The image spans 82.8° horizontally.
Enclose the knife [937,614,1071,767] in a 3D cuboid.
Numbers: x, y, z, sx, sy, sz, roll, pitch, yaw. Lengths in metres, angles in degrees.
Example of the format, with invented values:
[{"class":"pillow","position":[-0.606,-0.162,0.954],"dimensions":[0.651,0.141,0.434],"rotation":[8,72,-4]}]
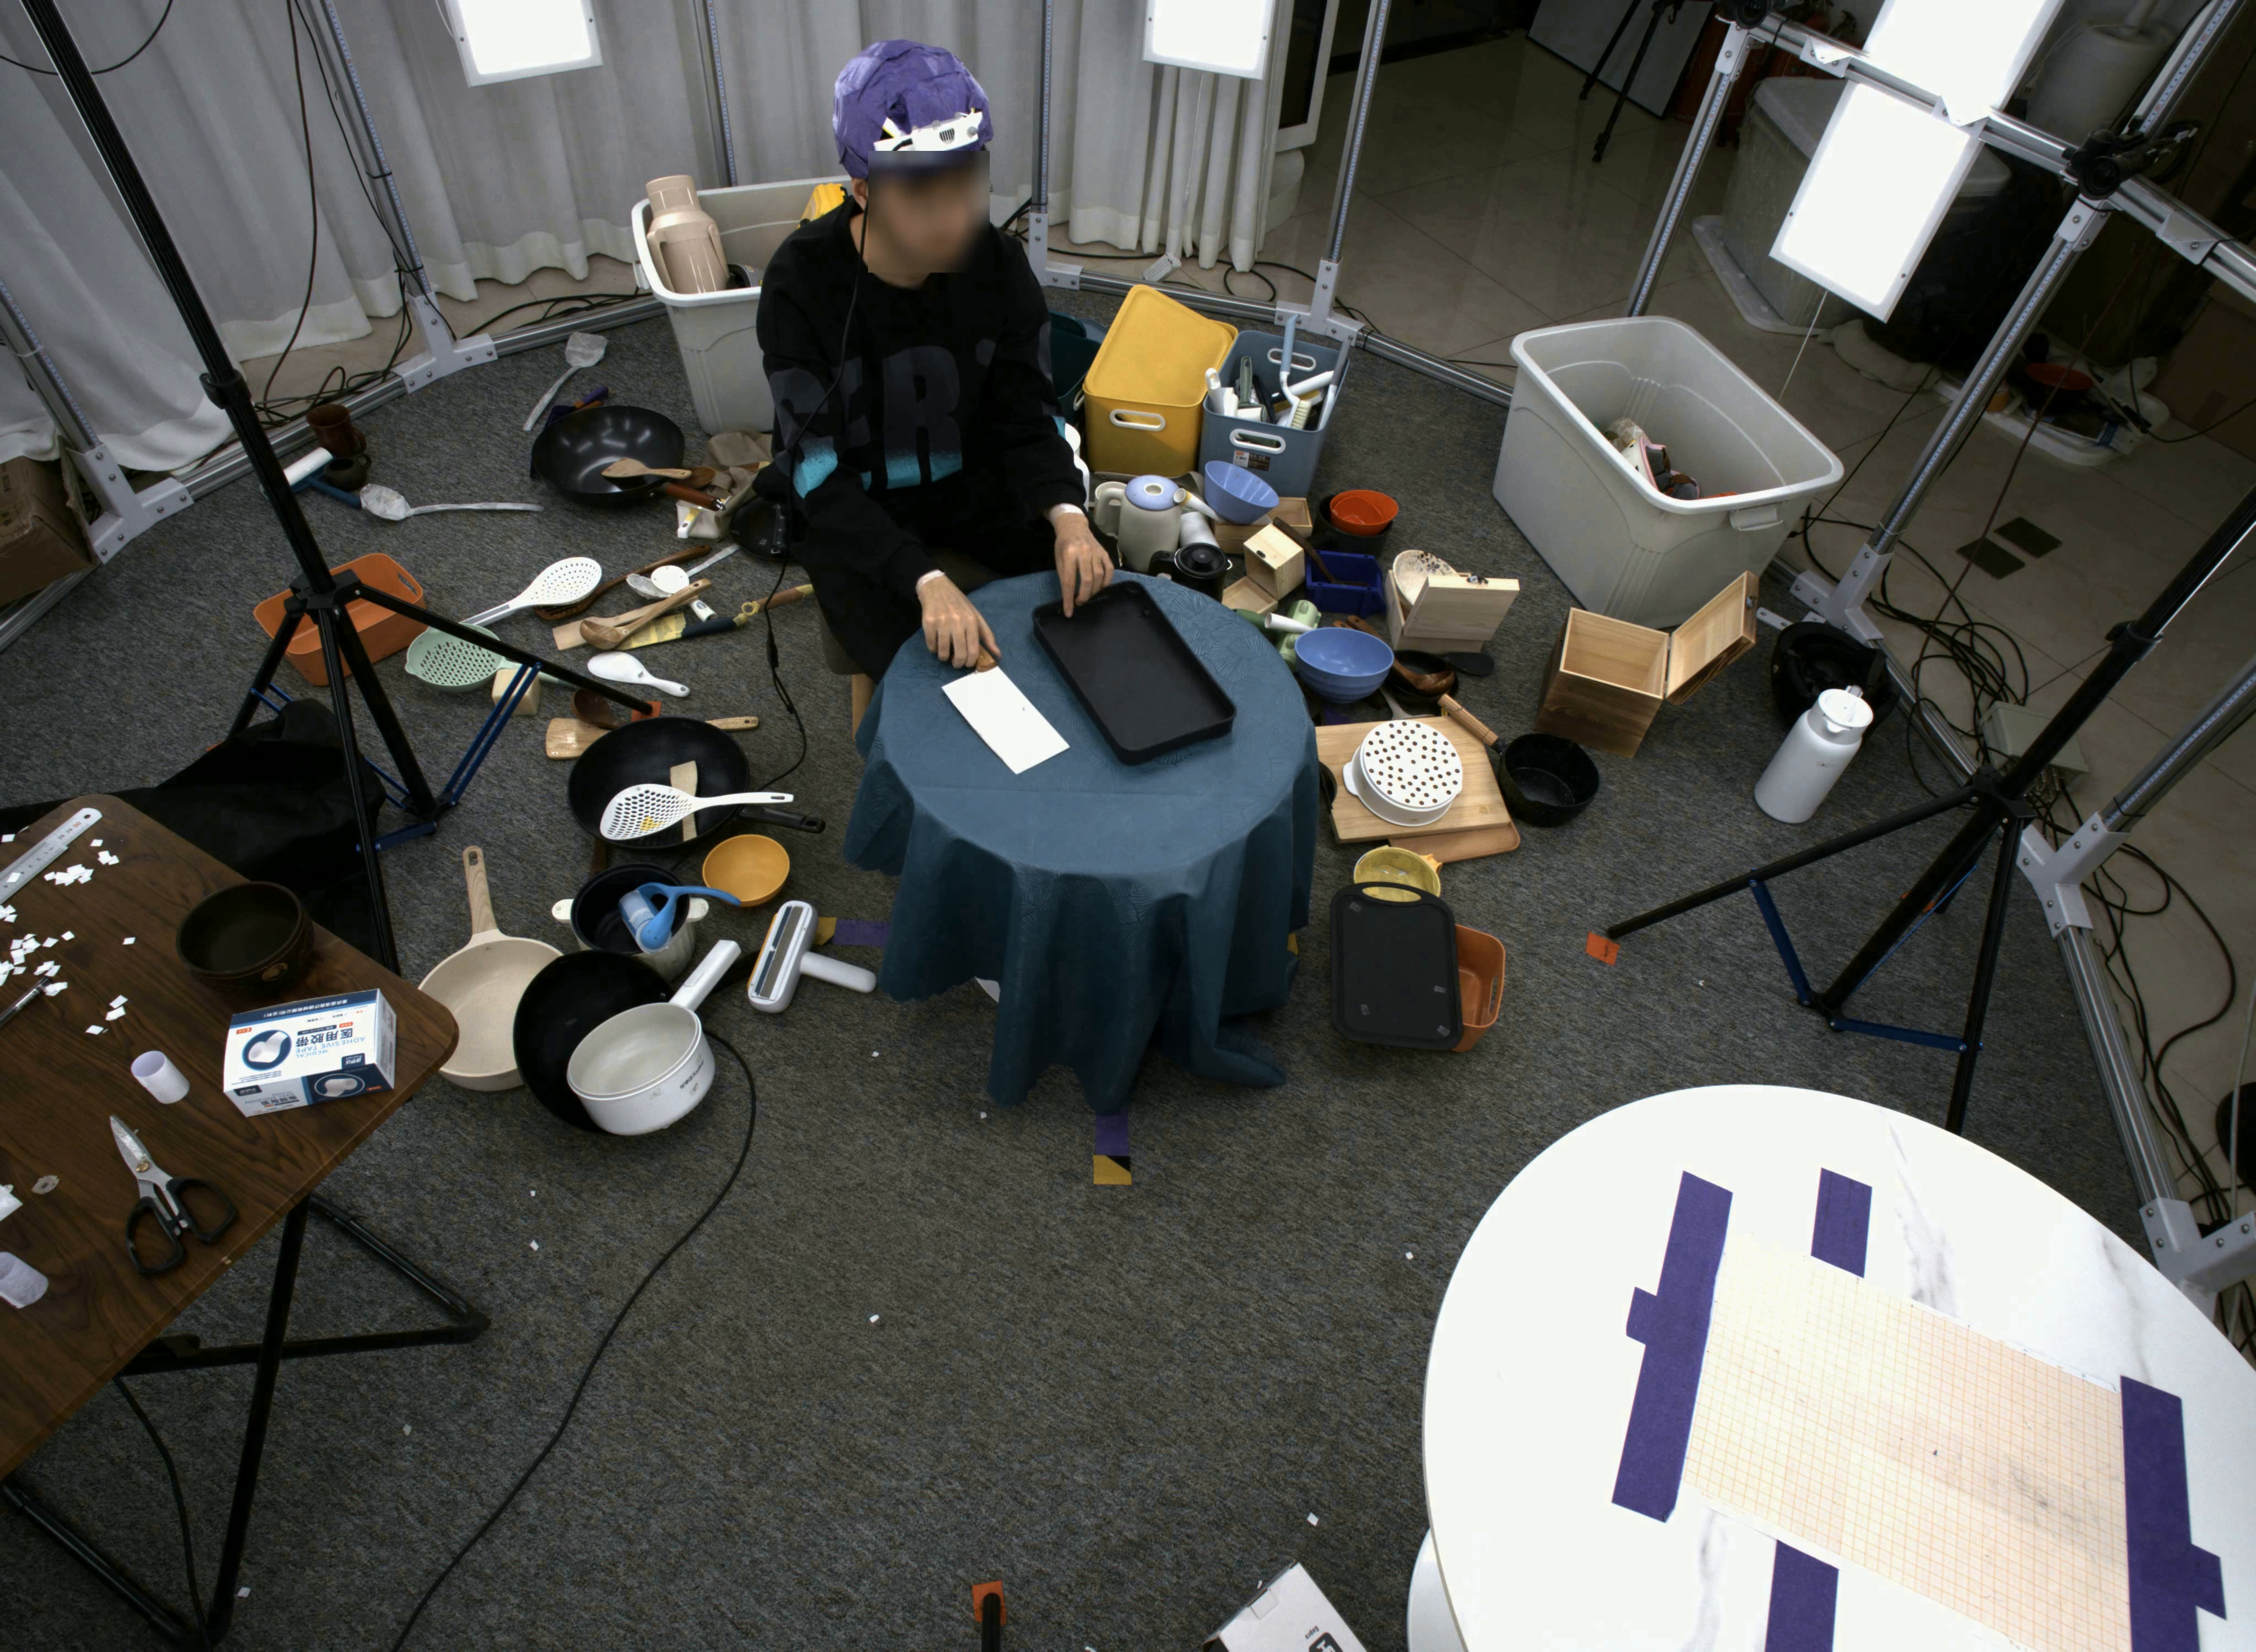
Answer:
[{"class":"knife","position":[-0.199,-0.191,1.811],"dimensions":[0.093,0.020,0.311],"rotation":[-28,59,-23]}]

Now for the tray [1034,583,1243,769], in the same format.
[{"class":"tray","position":[0.011,-0.221,1.838],"dimensions":[0.185,0.036,0.325],"rotation":[-21,54,-20]}]
